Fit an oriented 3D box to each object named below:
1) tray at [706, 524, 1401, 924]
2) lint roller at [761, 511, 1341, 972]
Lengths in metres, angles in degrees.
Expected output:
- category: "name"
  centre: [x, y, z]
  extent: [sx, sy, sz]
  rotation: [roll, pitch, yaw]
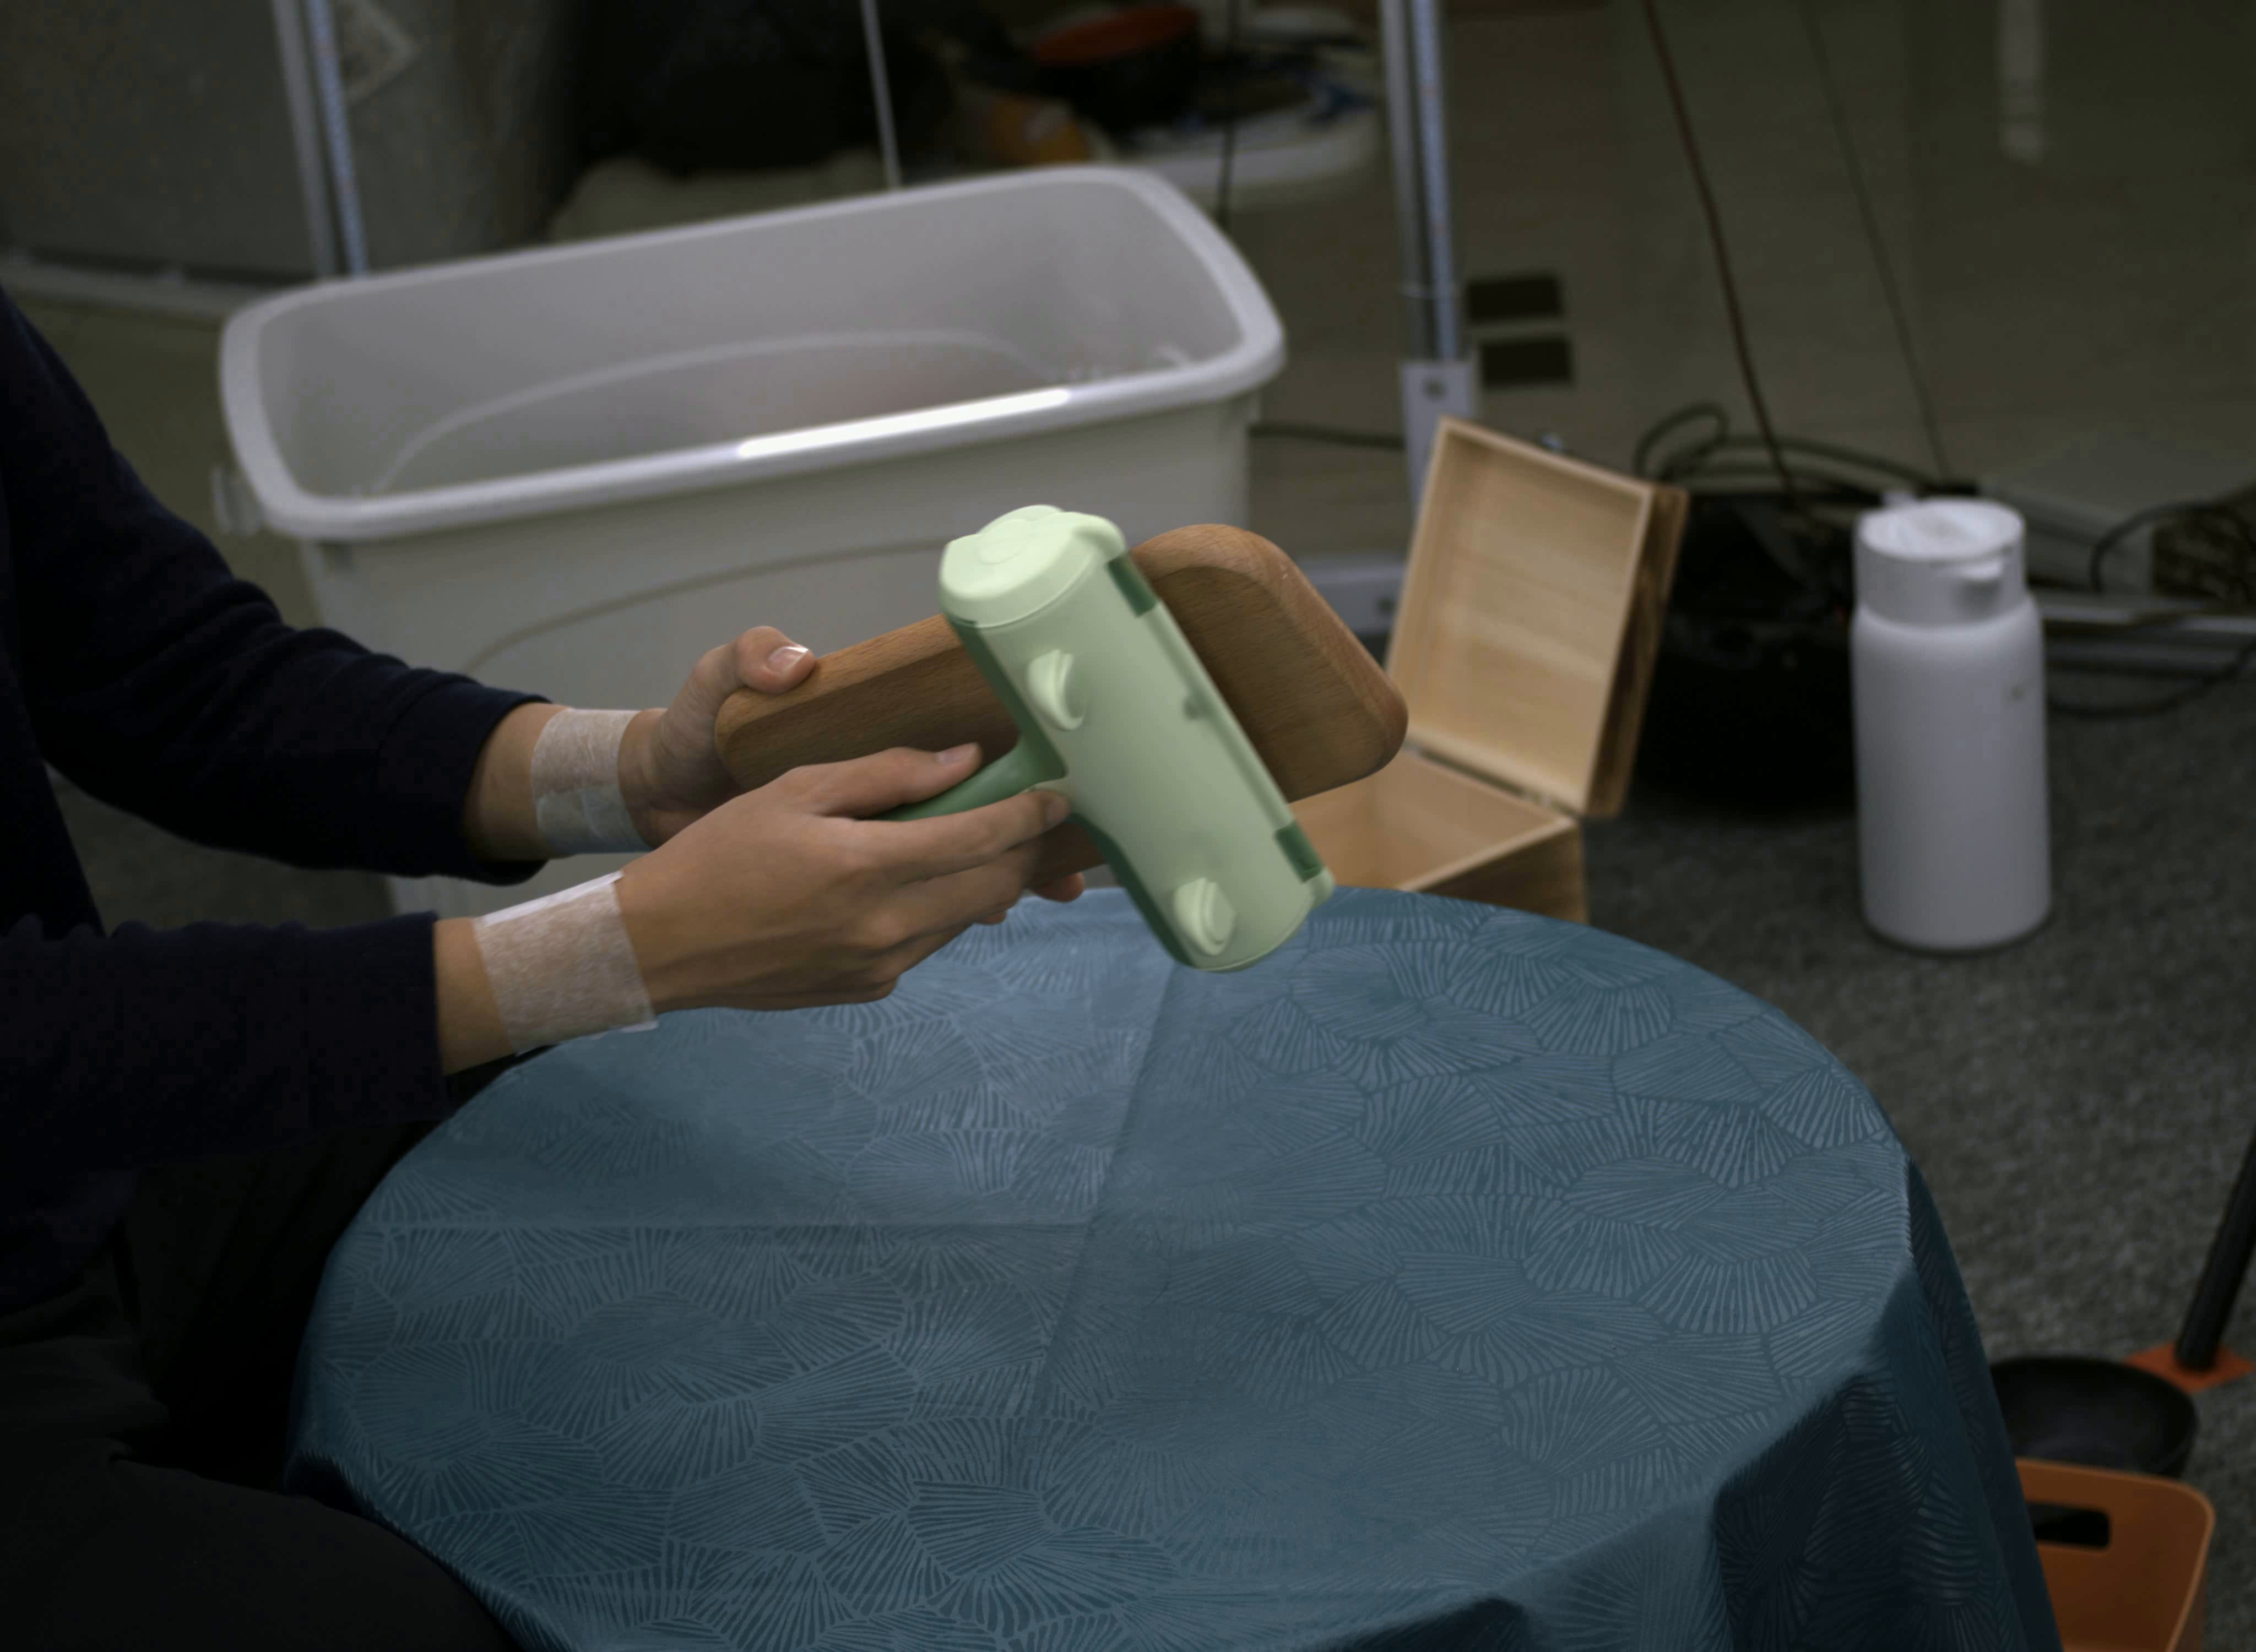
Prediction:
- category: "tray"
  centre: [-0.030, -0.032, 2.029]
  extent: [0.251, 0.132, 0.022]
  rotation: [-19, 37, 32]
- category: "lint roller"
  centre: [-0.042, 0.004, 1.972]
  extent: [0.183, 0.202, 0.081]
  rotation: [-31, 38, 4]
